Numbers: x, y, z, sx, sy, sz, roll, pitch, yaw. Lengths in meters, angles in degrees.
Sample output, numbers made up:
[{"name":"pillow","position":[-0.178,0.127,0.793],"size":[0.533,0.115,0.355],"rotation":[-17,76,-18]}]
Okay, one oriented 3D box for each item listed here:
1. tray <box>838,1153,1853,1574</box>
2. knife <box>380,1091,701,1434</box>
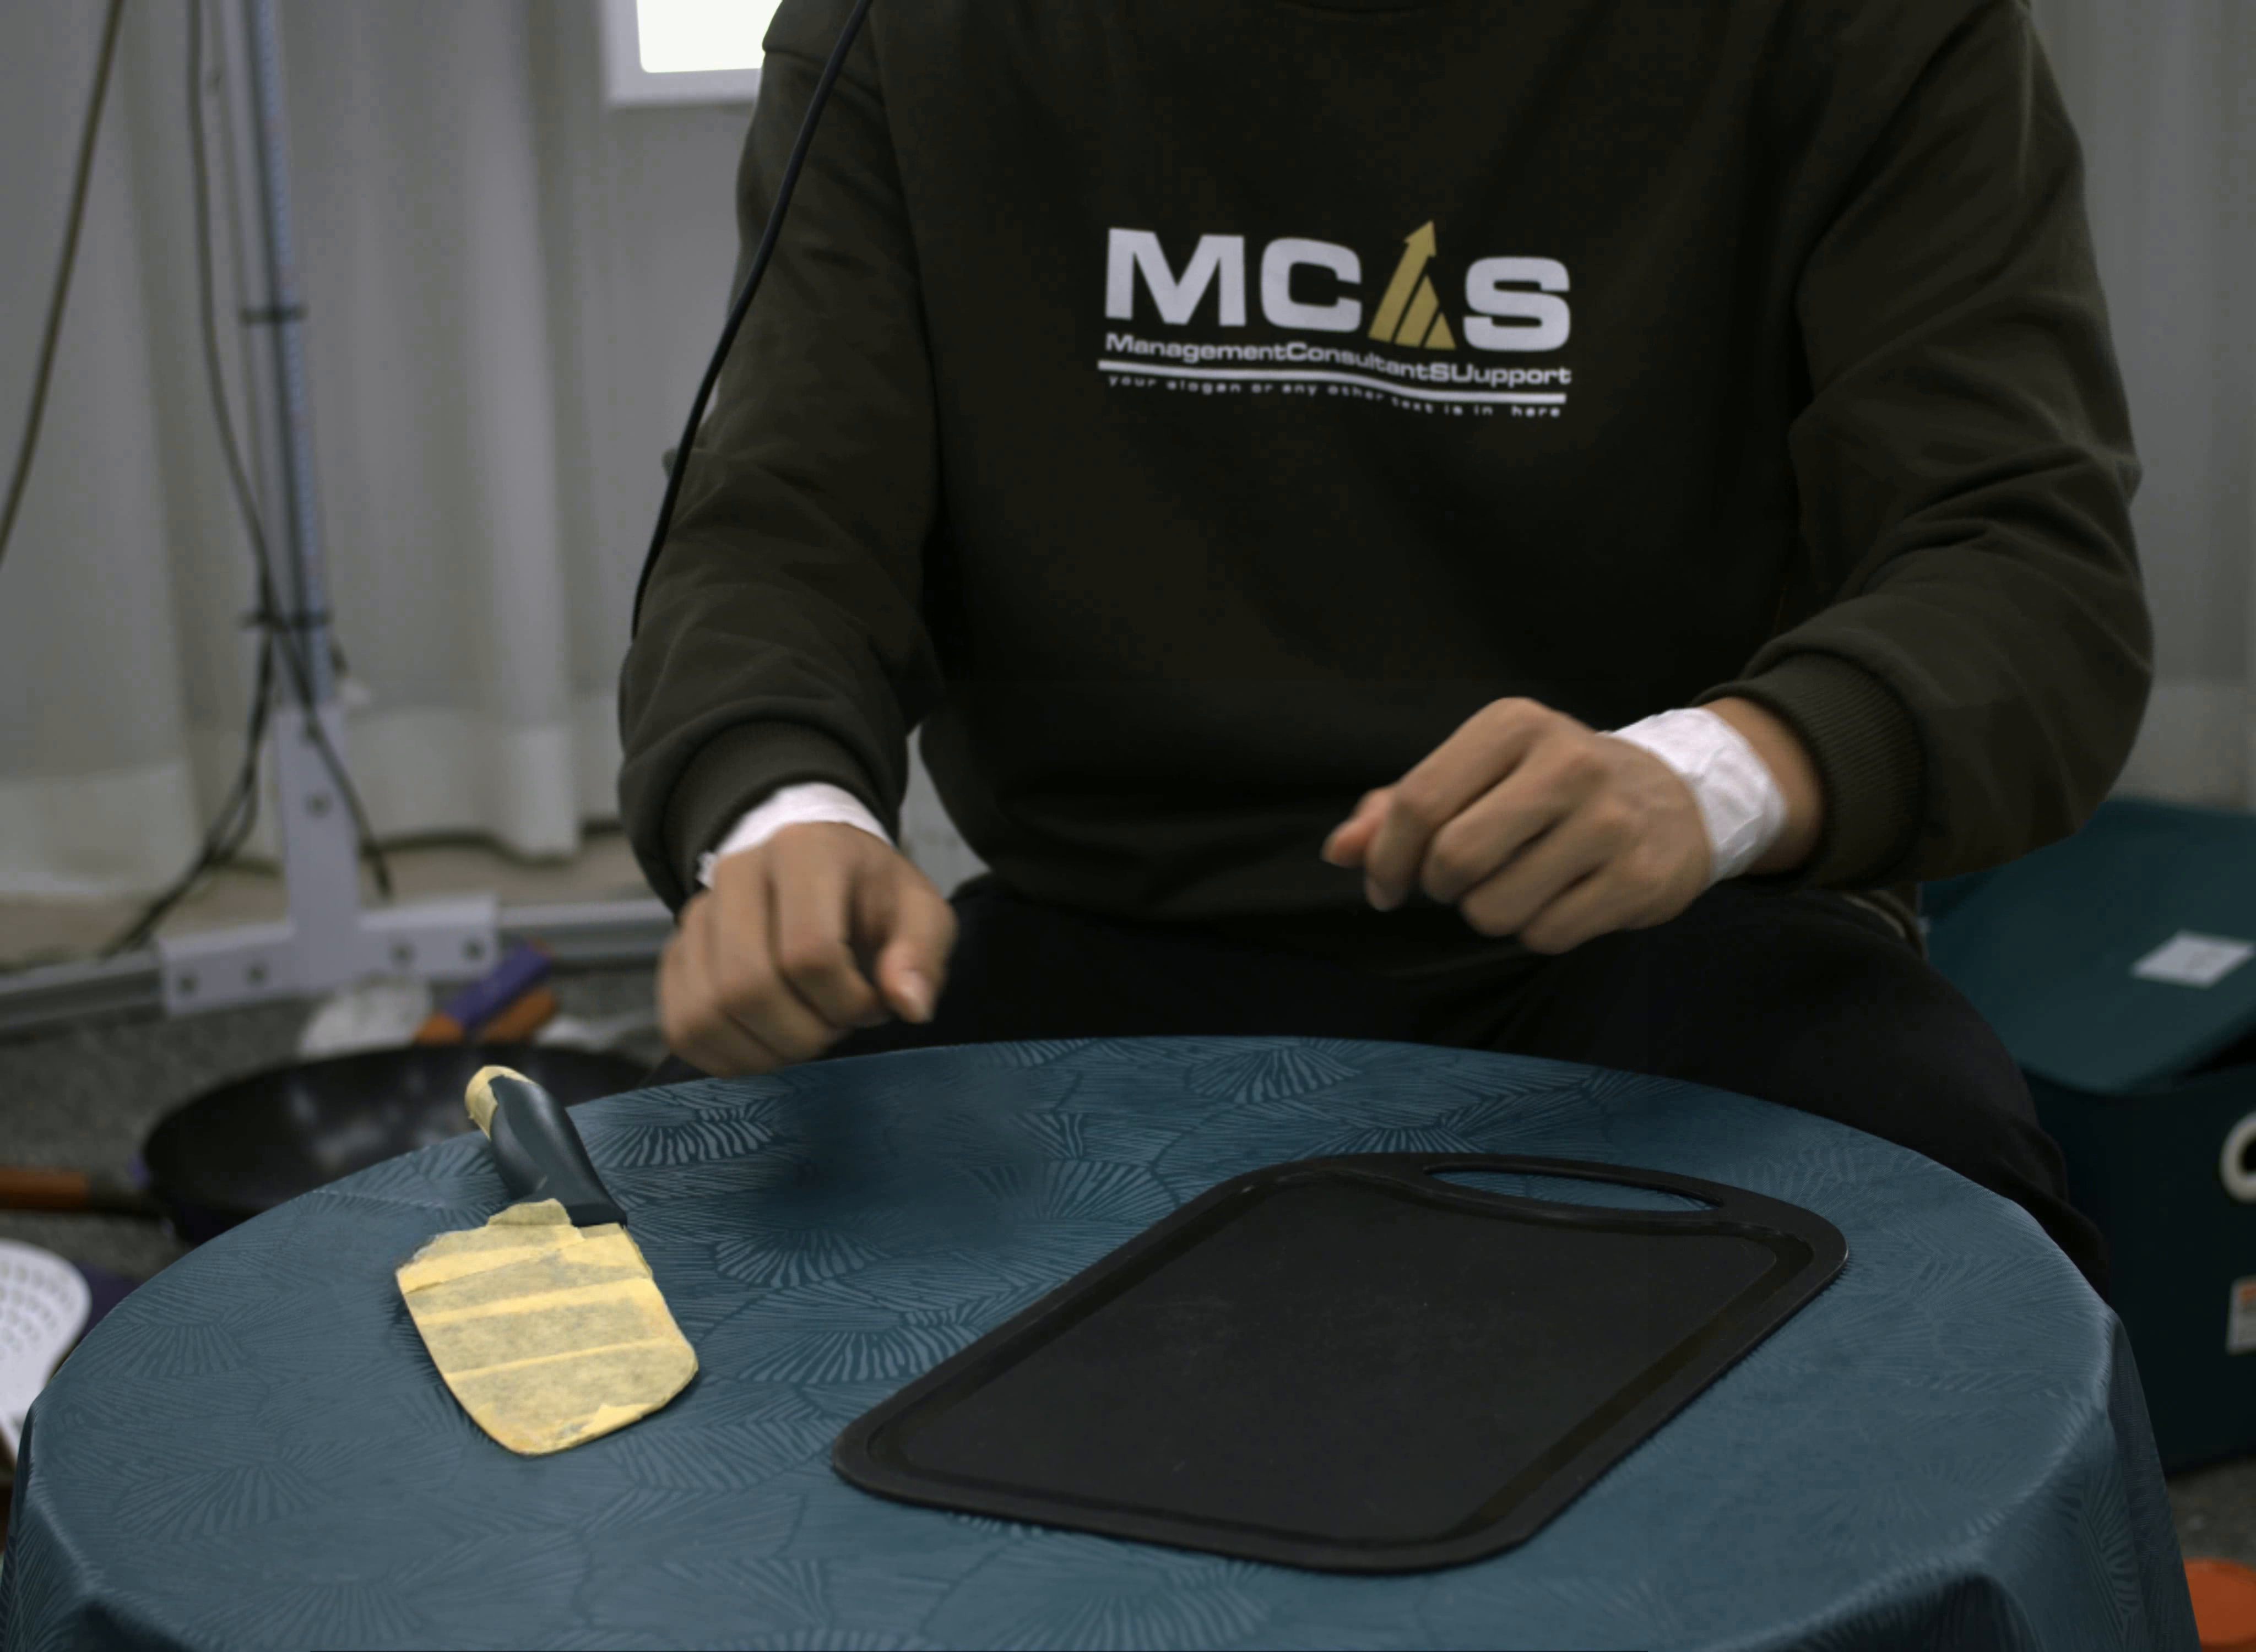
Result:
[{"name":"tray","position":[0.071,0.145,1.575],"size":[0.211,0.010,0.326],"rotation":[5,17,29]},{"name":"knife","position":[-0.185,0.132,1.658],"size":[0.080,0.027,0.292],"rotation":[-5,16,-13]}]
